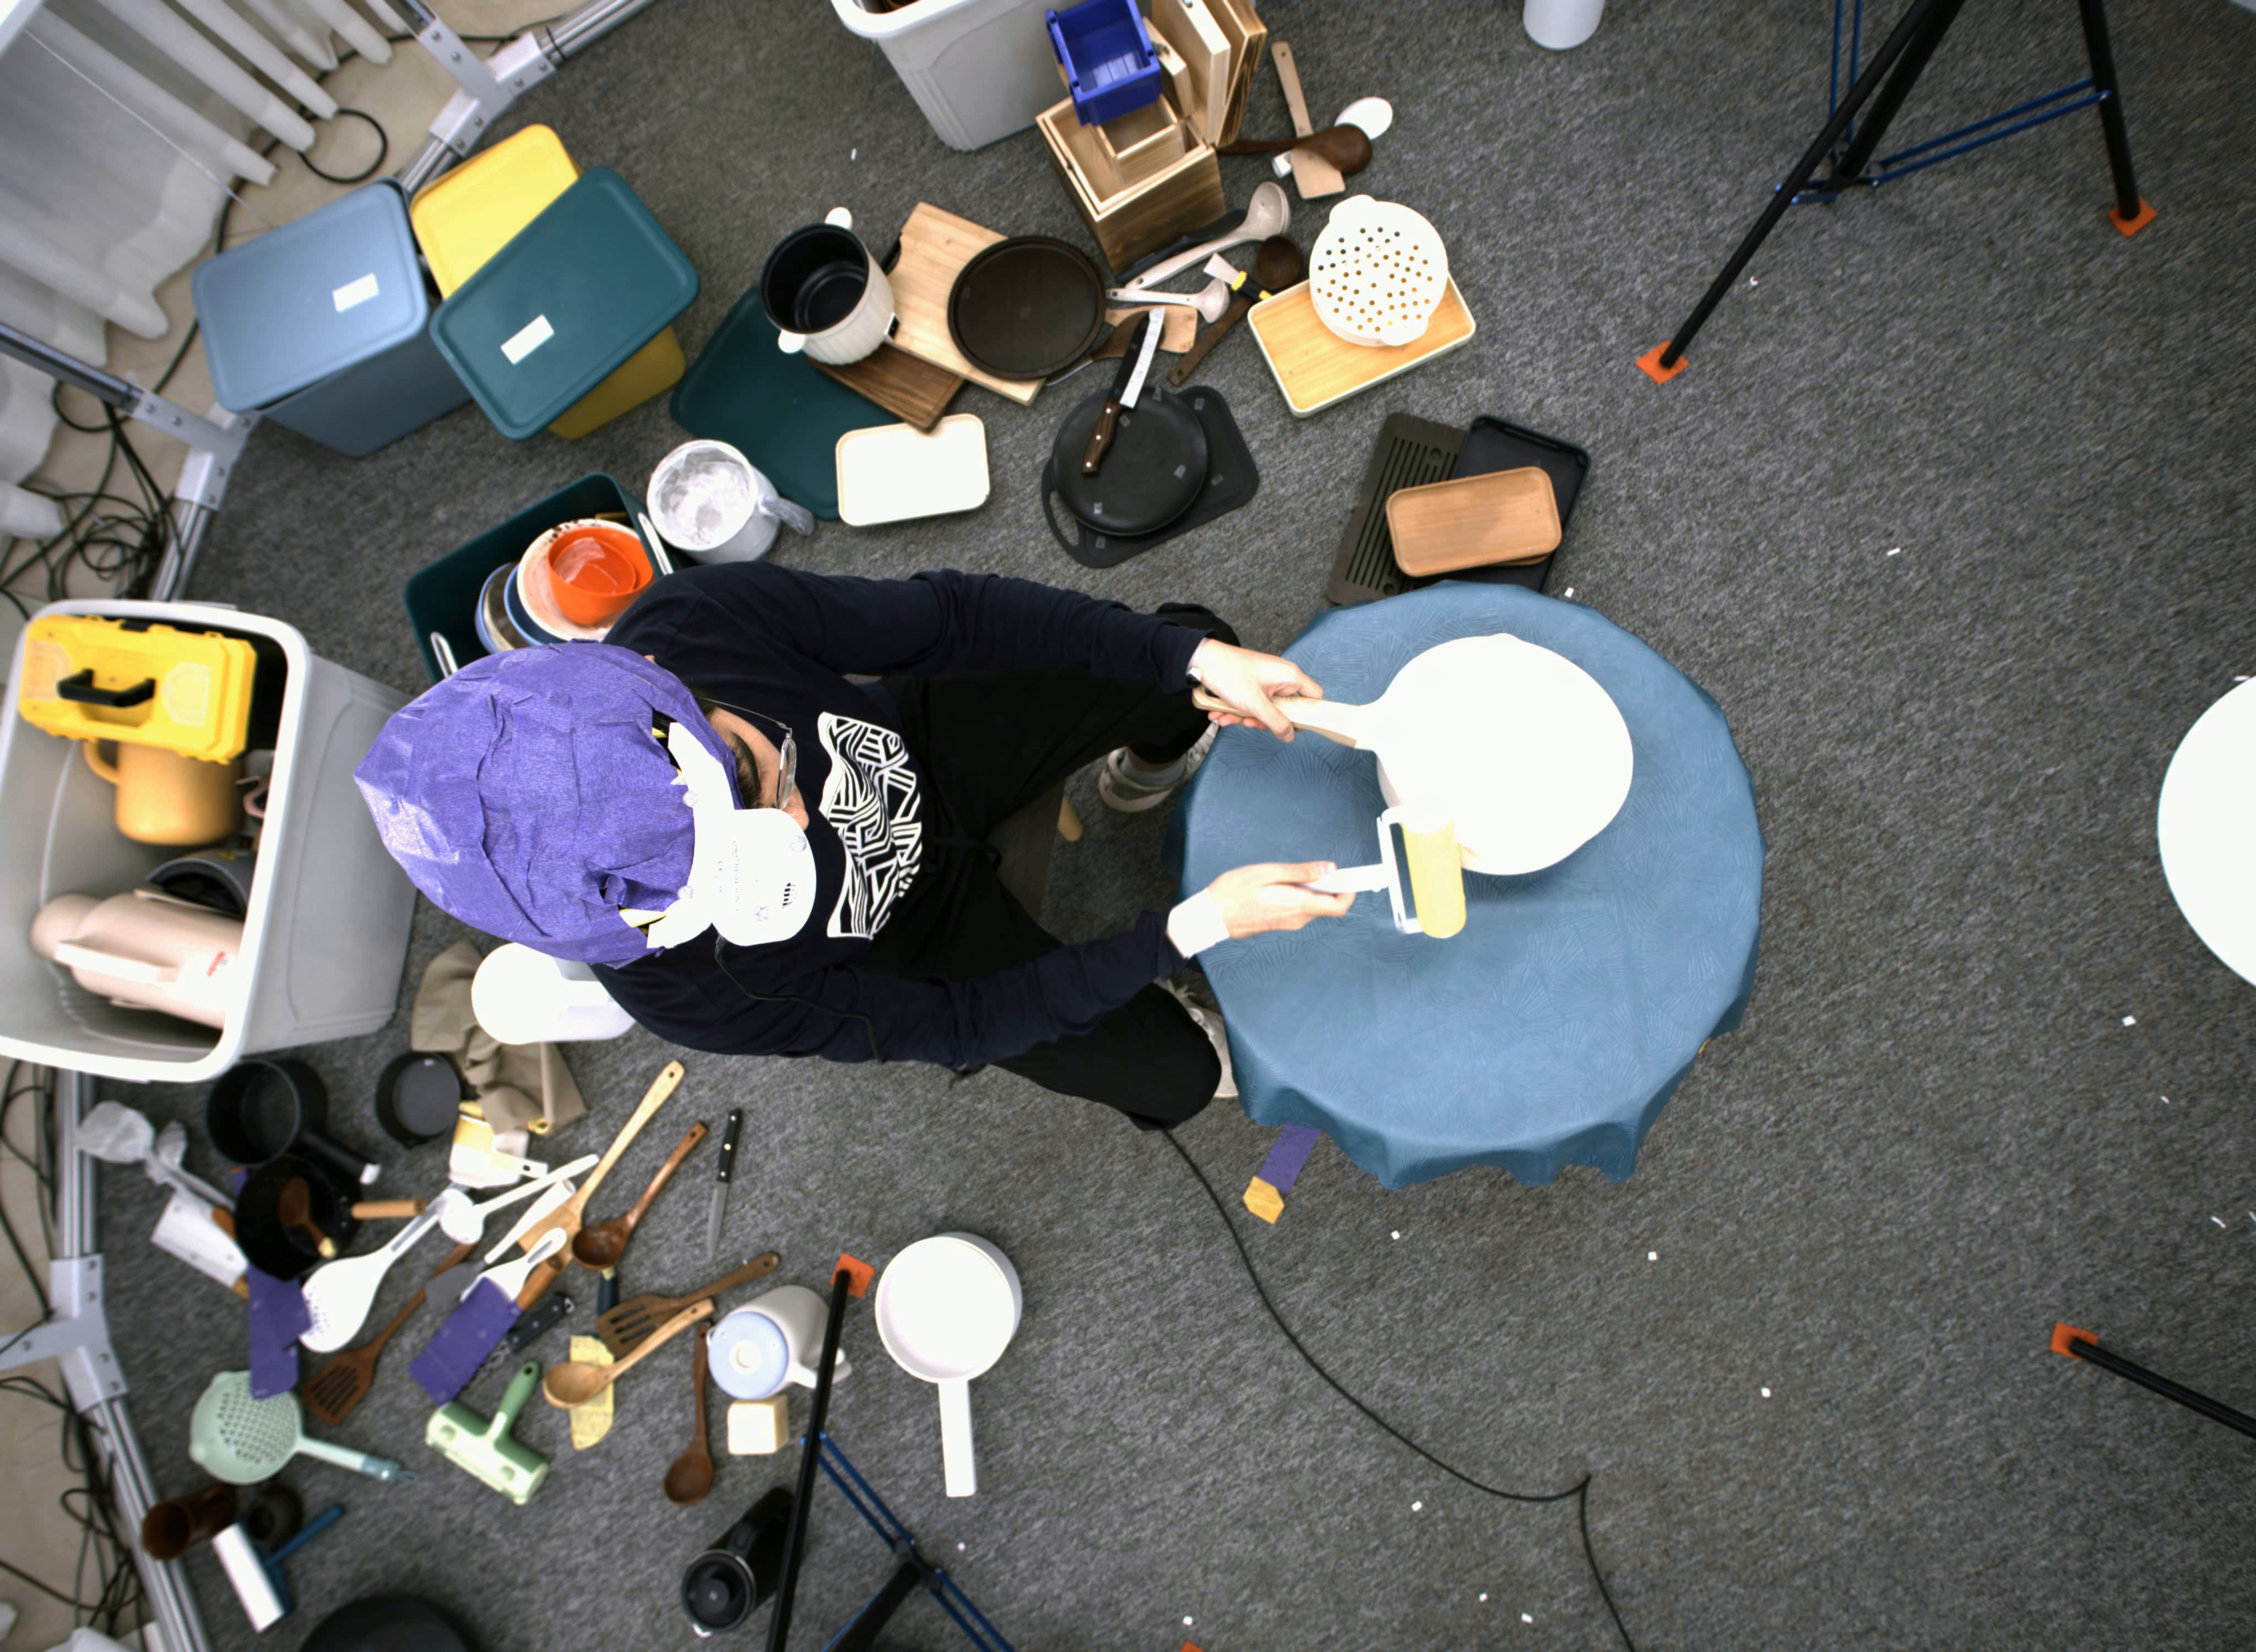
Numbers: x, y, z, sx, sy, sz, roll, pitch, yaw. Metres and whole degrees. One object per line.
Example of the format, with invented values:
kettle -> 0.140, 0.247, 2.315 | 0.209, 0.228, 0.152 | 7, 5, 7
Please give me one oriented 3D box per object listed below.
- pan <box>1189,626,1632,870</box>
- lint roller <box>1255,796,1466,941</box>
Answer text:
pan -> 0.276, -0.085, 1.373 | 0.435, 0.104, 0.258 | 7, 67, 3
lint roller -> 0.216, 0.059, 1.302 | 0.193, 0.178, 0.050 | -16, 47, 8
